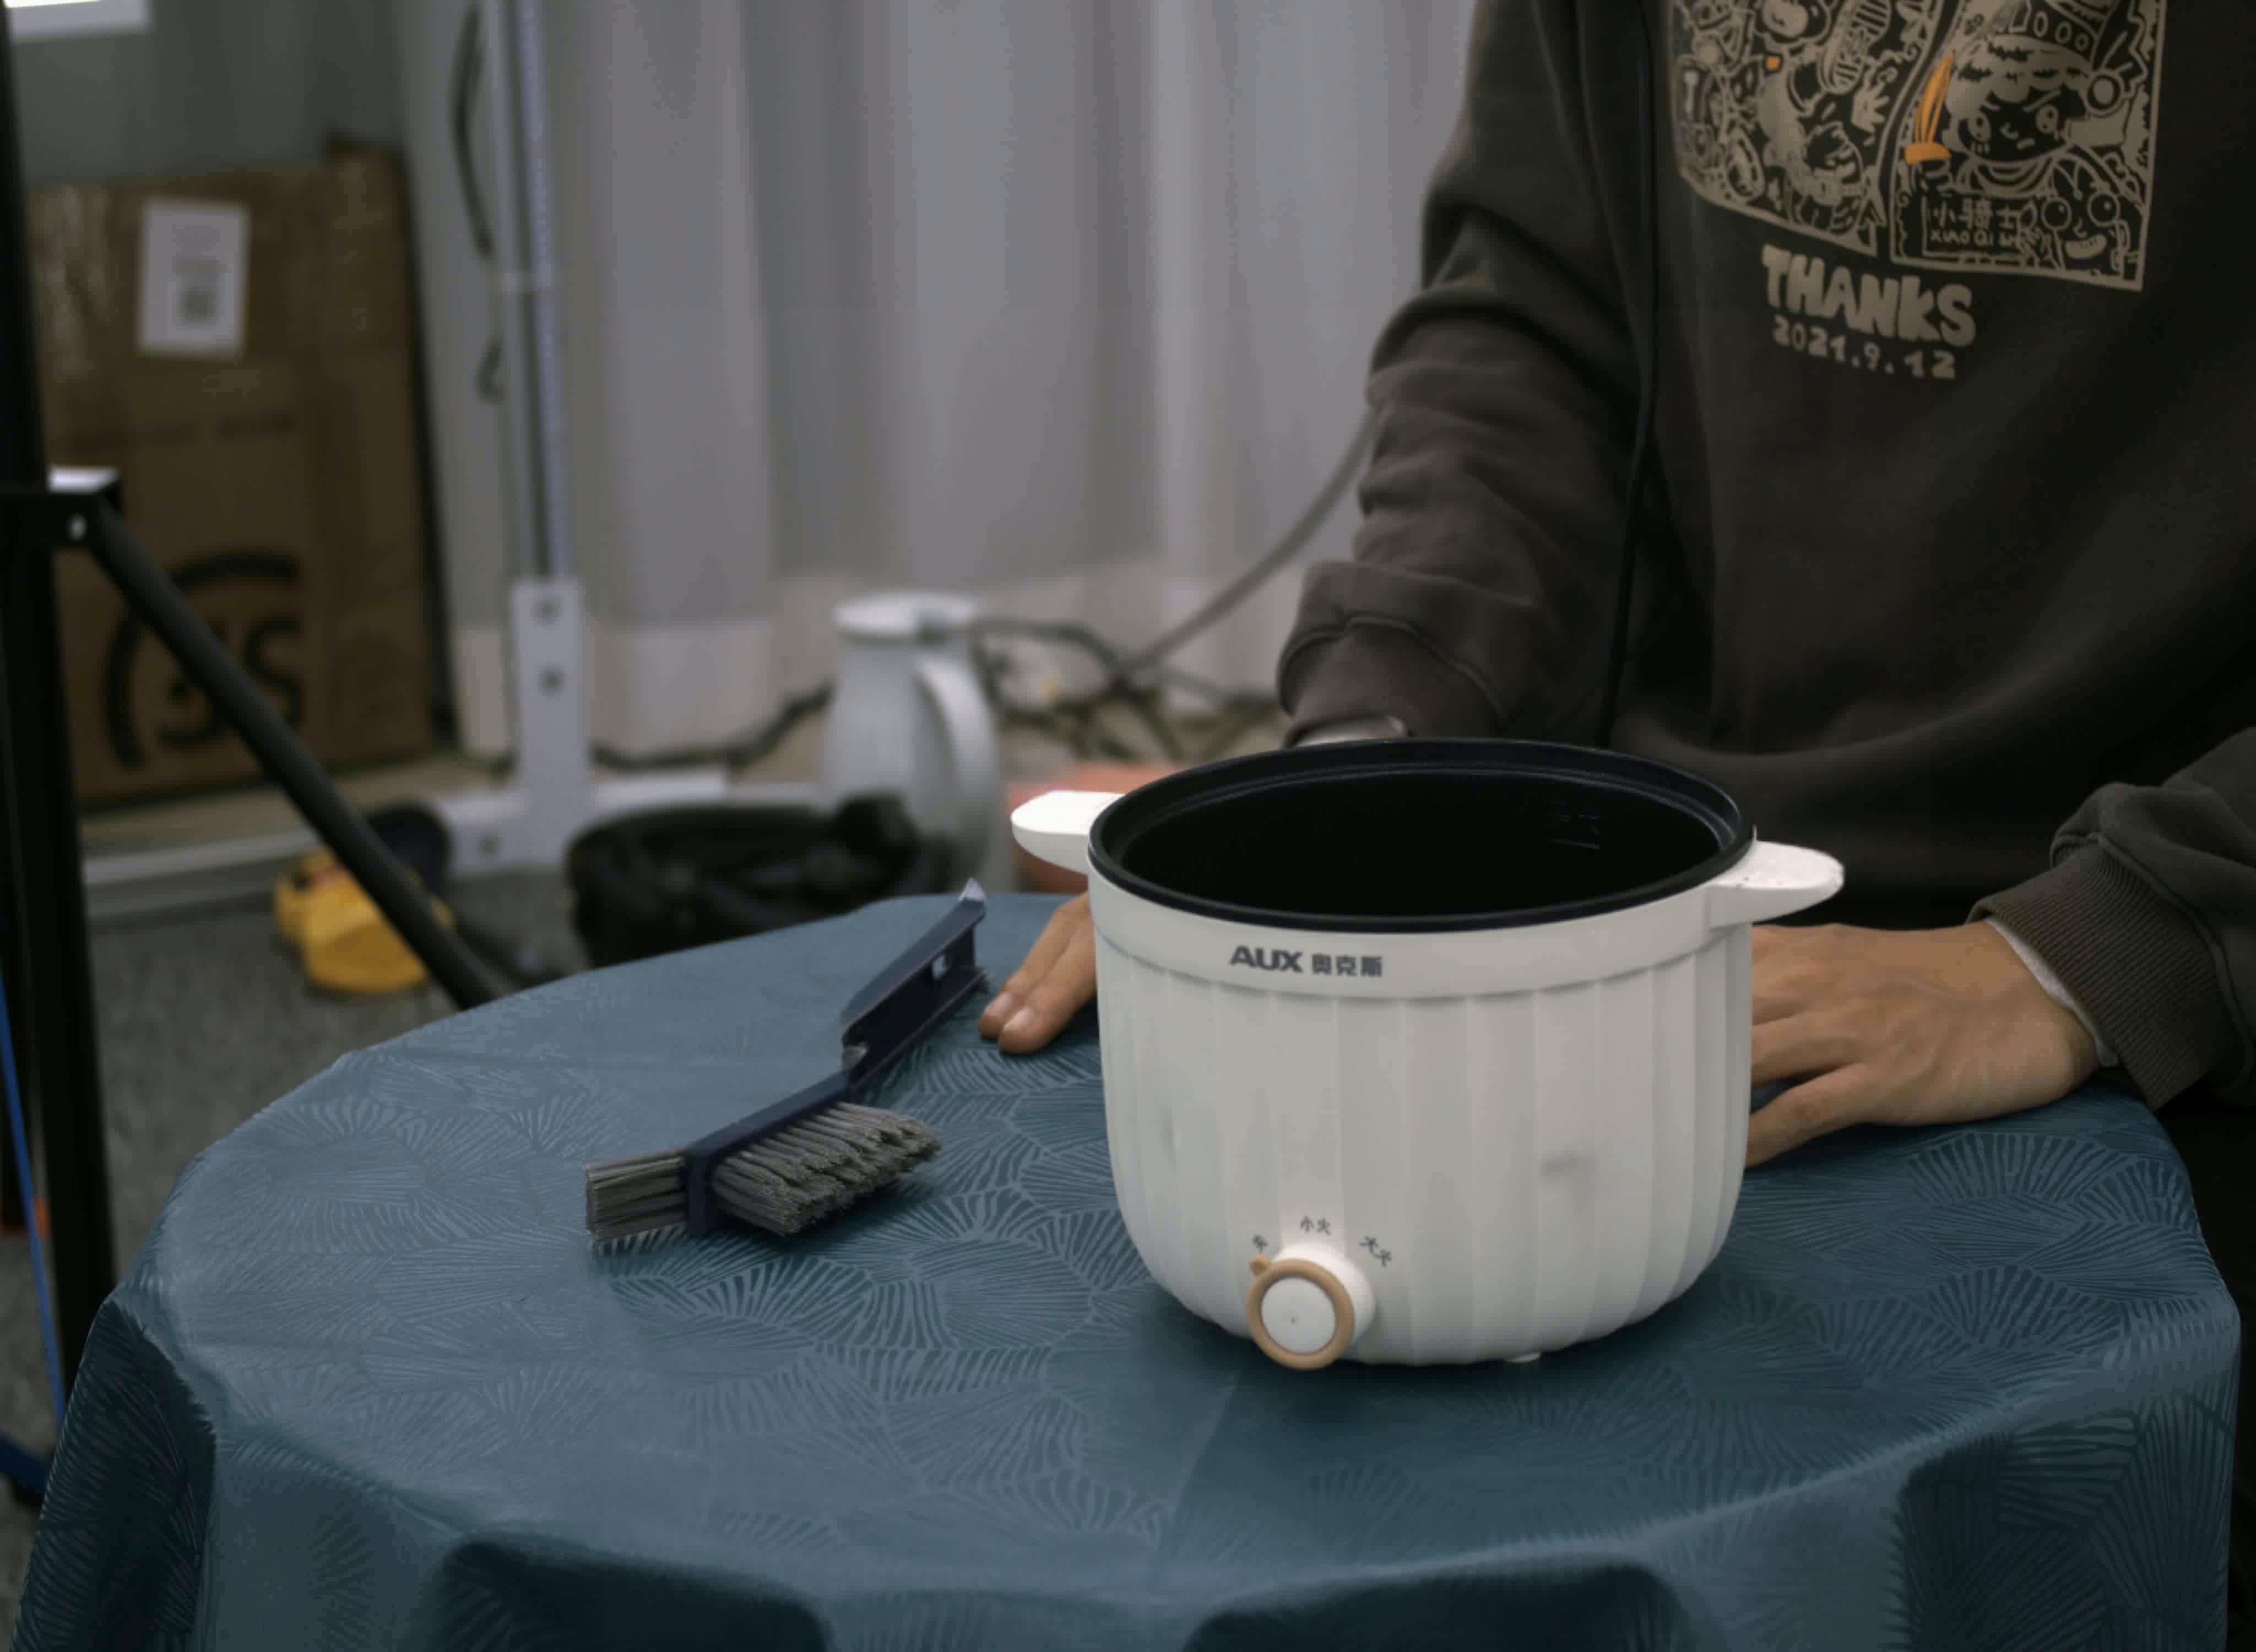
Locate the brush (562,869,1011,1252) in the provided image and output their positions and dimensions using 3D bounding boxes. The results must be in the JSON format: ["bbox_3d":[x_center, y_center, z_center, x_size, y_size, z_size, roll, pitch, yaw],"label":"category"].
[{"bbox_3d":[-0.096,0.070,1.655,0.096,0.033,0.272,-1,17,11],"label":"brush"}]

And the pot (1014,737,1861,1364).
[{"bbox_3d":[0.081,0.064,1.448,0.244,0.143,0.187,3,13,24],"label":"pot"}]
